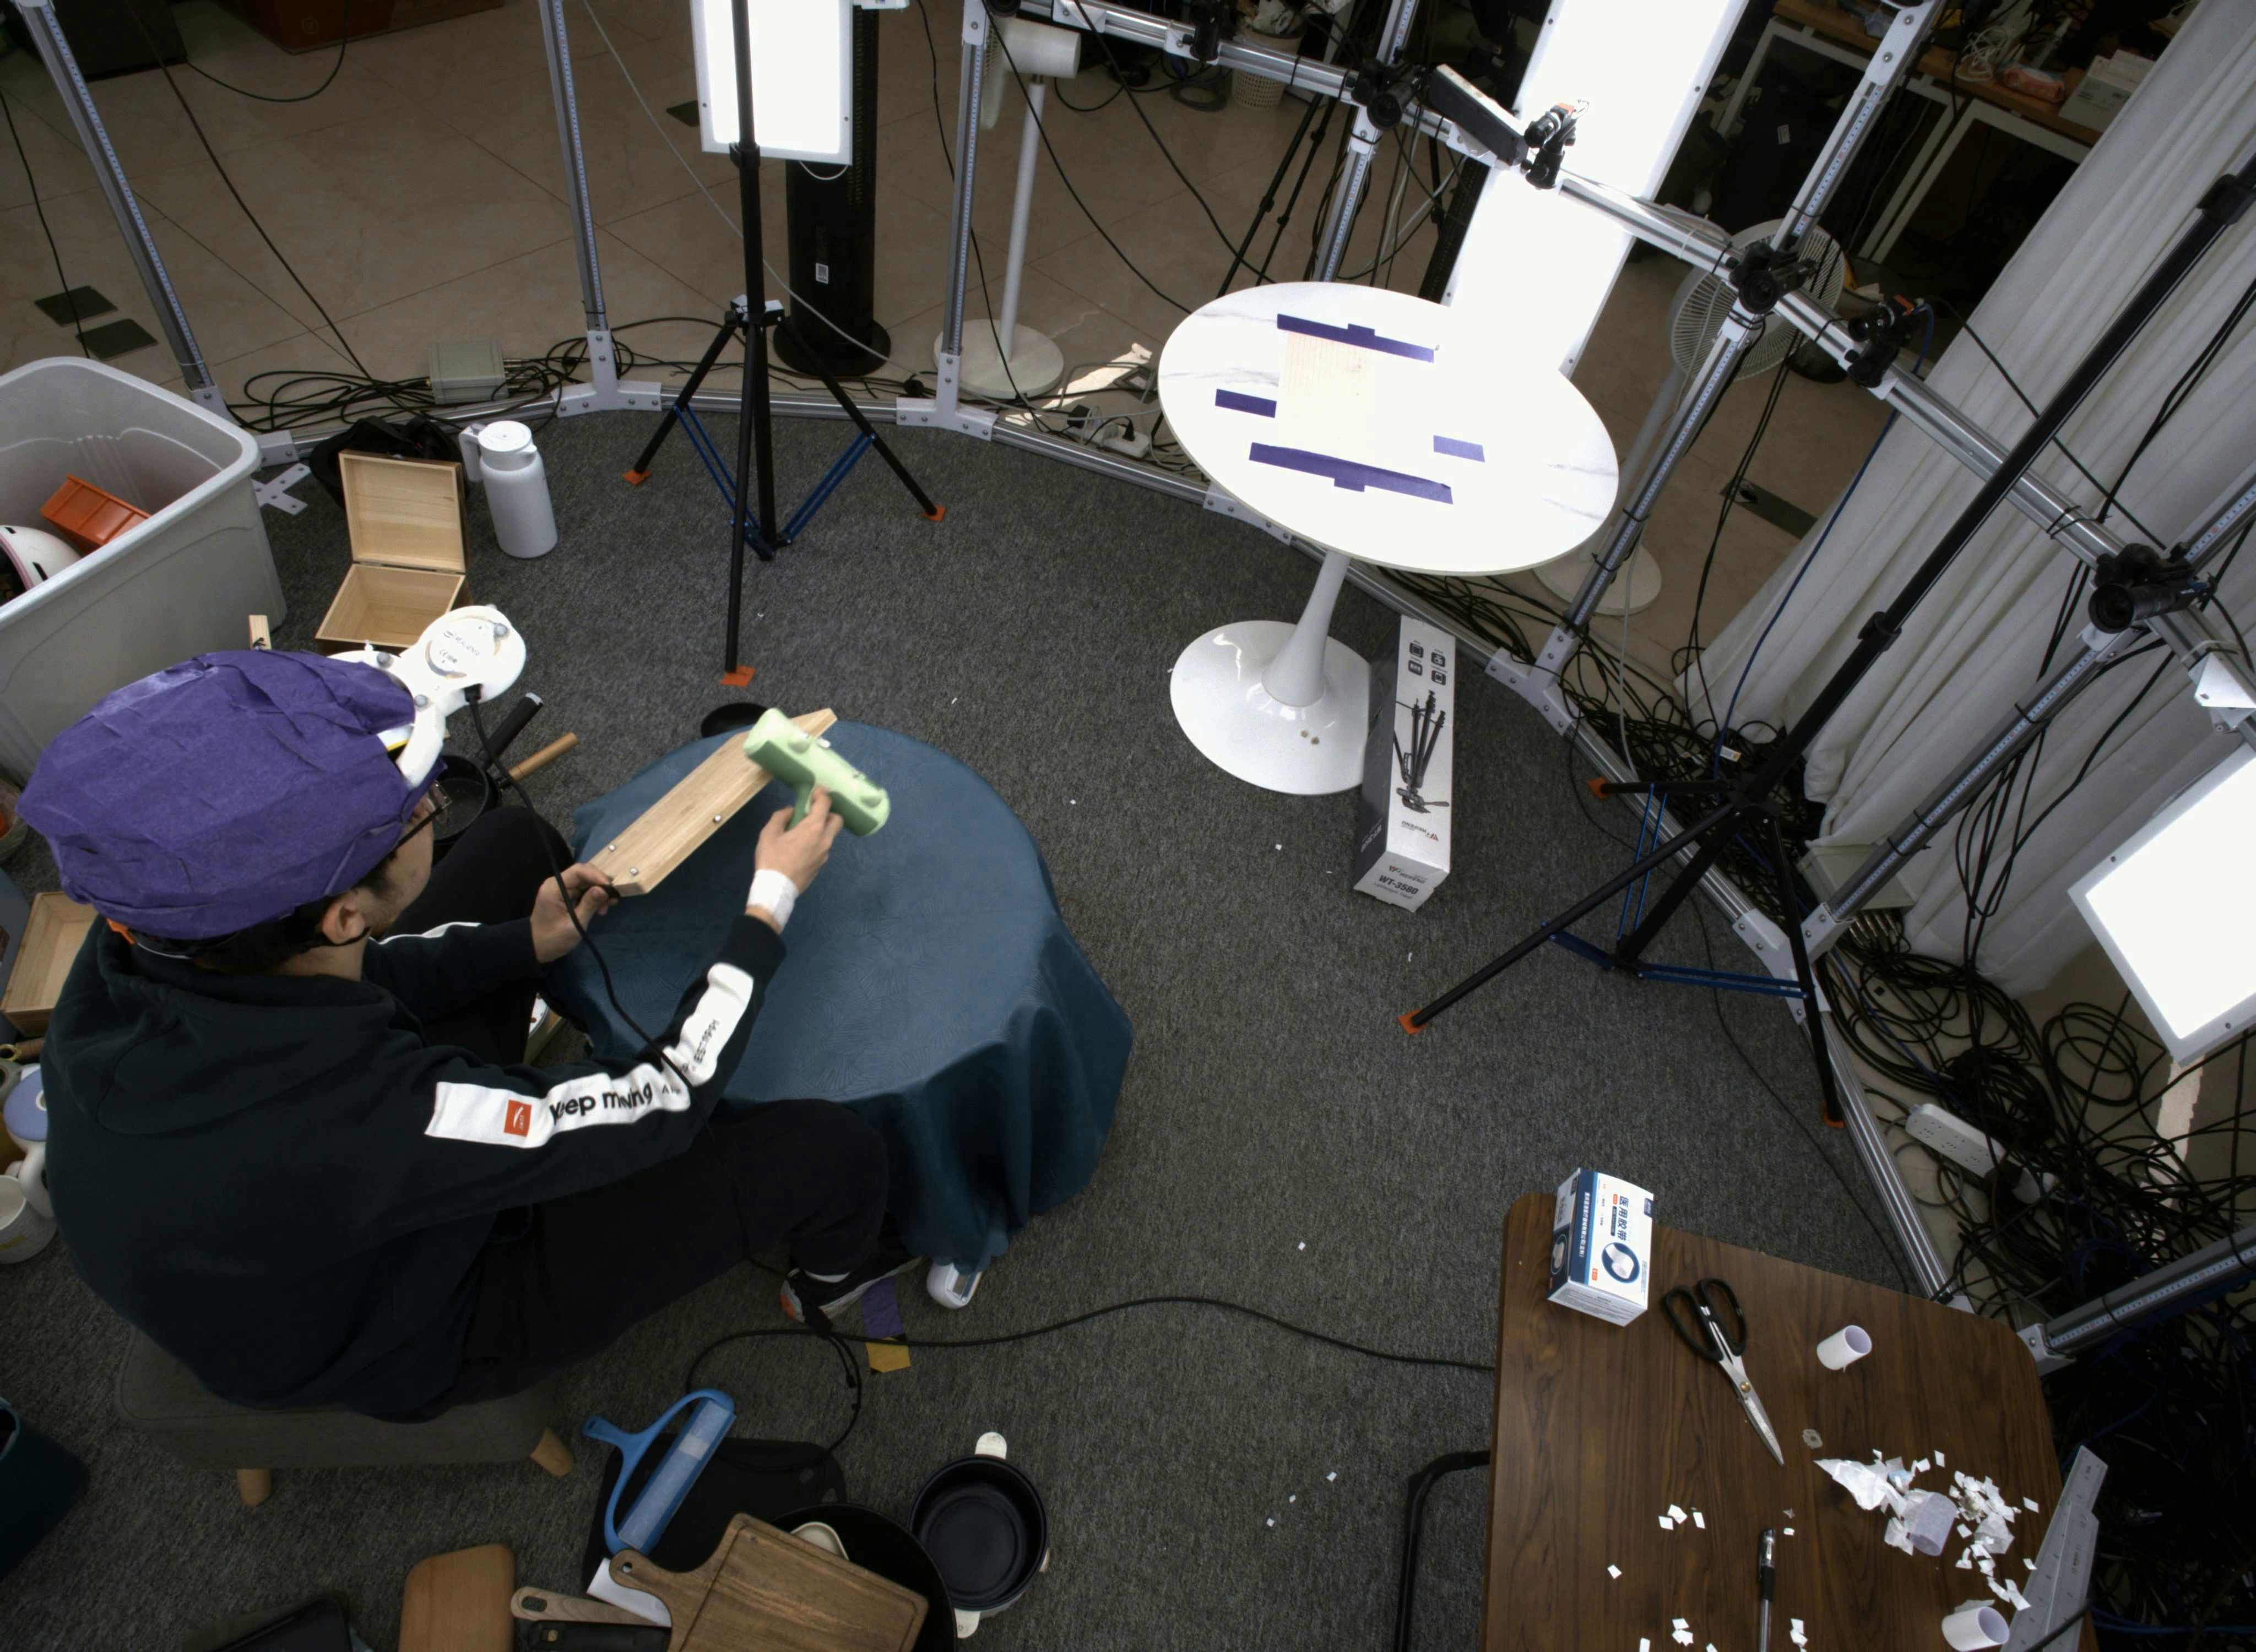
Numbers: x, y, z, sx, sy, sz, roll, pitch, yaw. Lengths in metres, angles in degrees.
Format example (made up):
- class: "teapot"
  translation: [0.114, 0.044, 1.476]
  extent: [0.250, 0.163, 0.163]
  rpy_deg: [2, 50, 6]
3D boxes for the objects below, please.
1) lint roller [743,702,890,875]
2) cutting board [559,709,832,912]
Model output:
- class: "lint roller"
  translation: [-0.371, -0.028, 1.533]
  extent: [0.205, 0.081, 0.180]
  rpy_deg: [41, 37, -36]
- class: "cutting board"
  translation: [-0.541, -0.022, 1.598]
  extent: [0.024, 0.243, 0.347]
  rpy_deg: [57, 48, -23]
